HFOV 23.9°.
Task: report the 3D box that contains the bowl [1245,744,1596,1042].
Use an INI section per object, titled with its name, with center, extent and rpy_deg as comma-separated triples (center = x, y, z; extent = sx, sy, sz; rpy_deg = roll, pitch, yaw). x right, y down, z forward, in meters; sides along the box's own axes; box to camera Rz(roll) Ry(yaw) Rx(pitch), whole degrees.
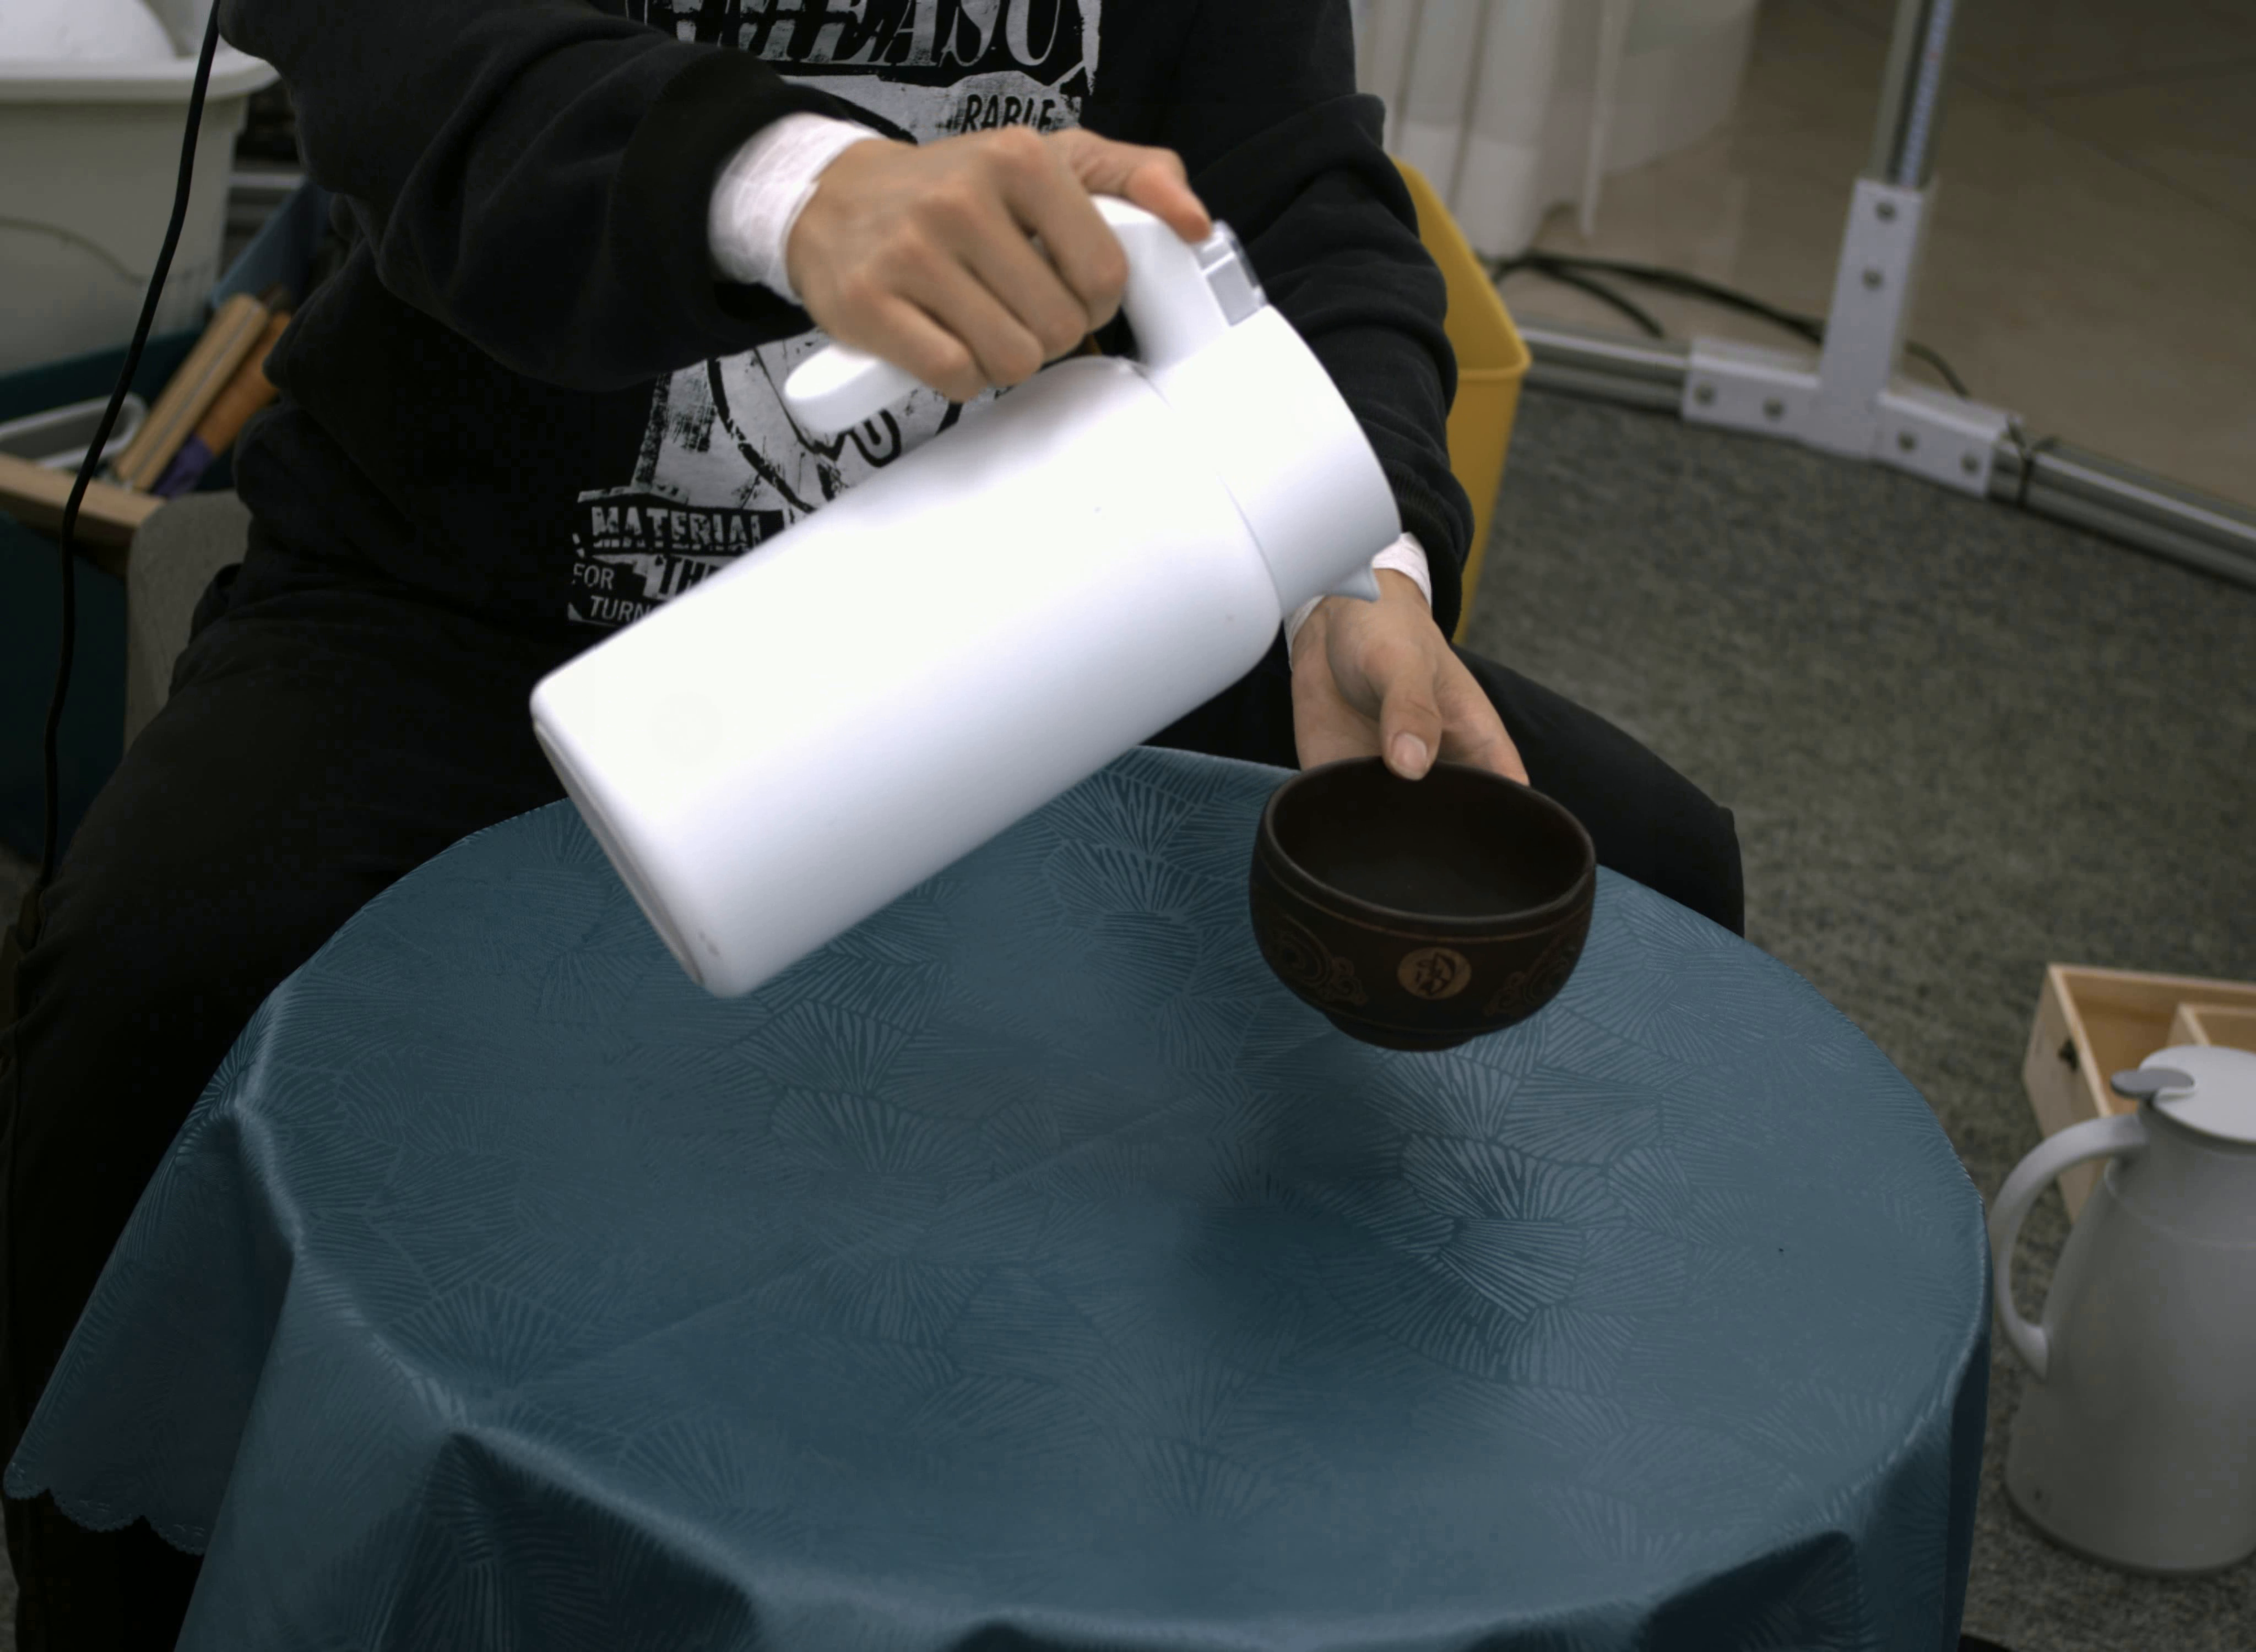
[bowl]
center = 0.097, 0.029, 1.799
extent = 0.117, 0.069, 0.119
rpy_deg = 5, 28, -3

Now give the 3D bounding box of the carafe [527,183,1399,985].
[carafe]
center = -0.057, -0.078, 1.672
extent = 0.268, 0.171, 0.125
rpy_deg = -31, 30, -7
